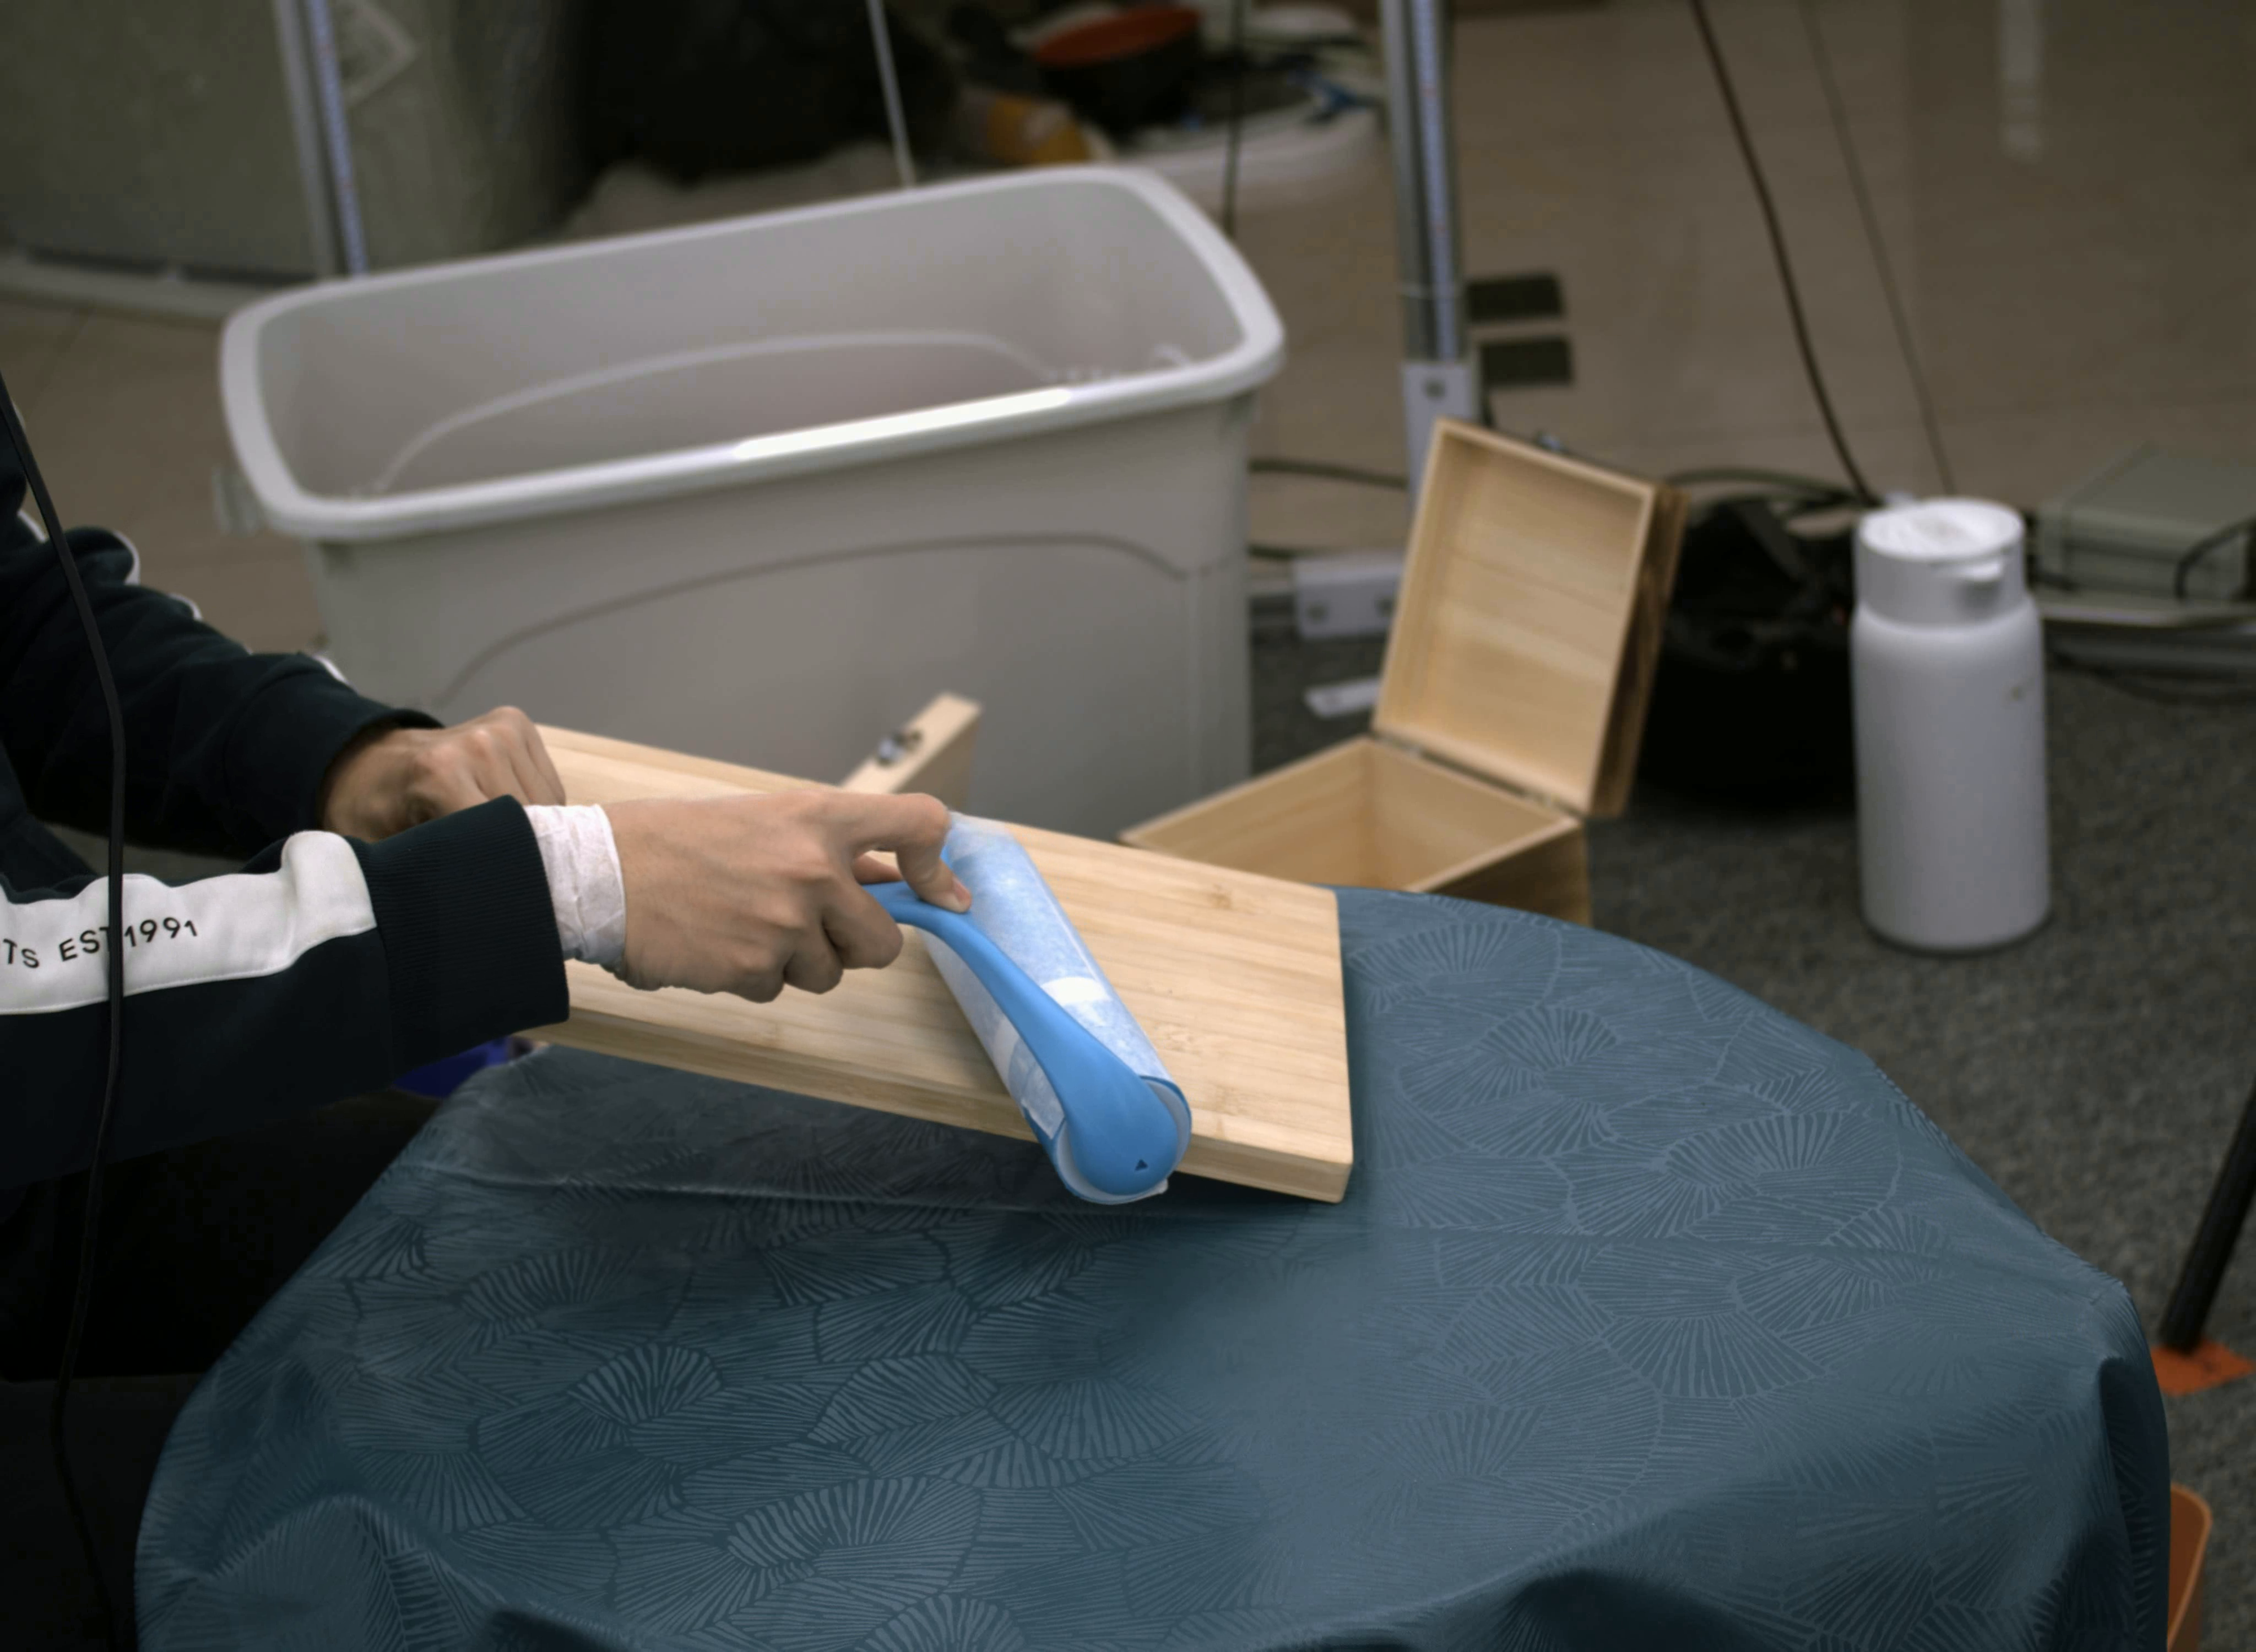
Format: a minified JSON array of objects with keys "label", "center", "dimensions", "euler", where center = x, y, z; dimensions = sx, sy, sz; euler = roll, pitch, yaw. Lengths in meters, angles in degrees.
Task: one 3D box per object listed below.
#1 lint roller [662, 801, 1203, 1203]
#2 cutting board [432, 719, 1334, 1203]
[{"label":"lint roller","center":[-0.078,0.054,2.081],"dimensions":[0.181,0.069,0.225],"euler":[15,24,-30]},{"label":"cutting board","center":[-0.087,0.050,2.207],"dimensions":[0.348,0.024,0.247],"euler":[11,25,-6]}]
